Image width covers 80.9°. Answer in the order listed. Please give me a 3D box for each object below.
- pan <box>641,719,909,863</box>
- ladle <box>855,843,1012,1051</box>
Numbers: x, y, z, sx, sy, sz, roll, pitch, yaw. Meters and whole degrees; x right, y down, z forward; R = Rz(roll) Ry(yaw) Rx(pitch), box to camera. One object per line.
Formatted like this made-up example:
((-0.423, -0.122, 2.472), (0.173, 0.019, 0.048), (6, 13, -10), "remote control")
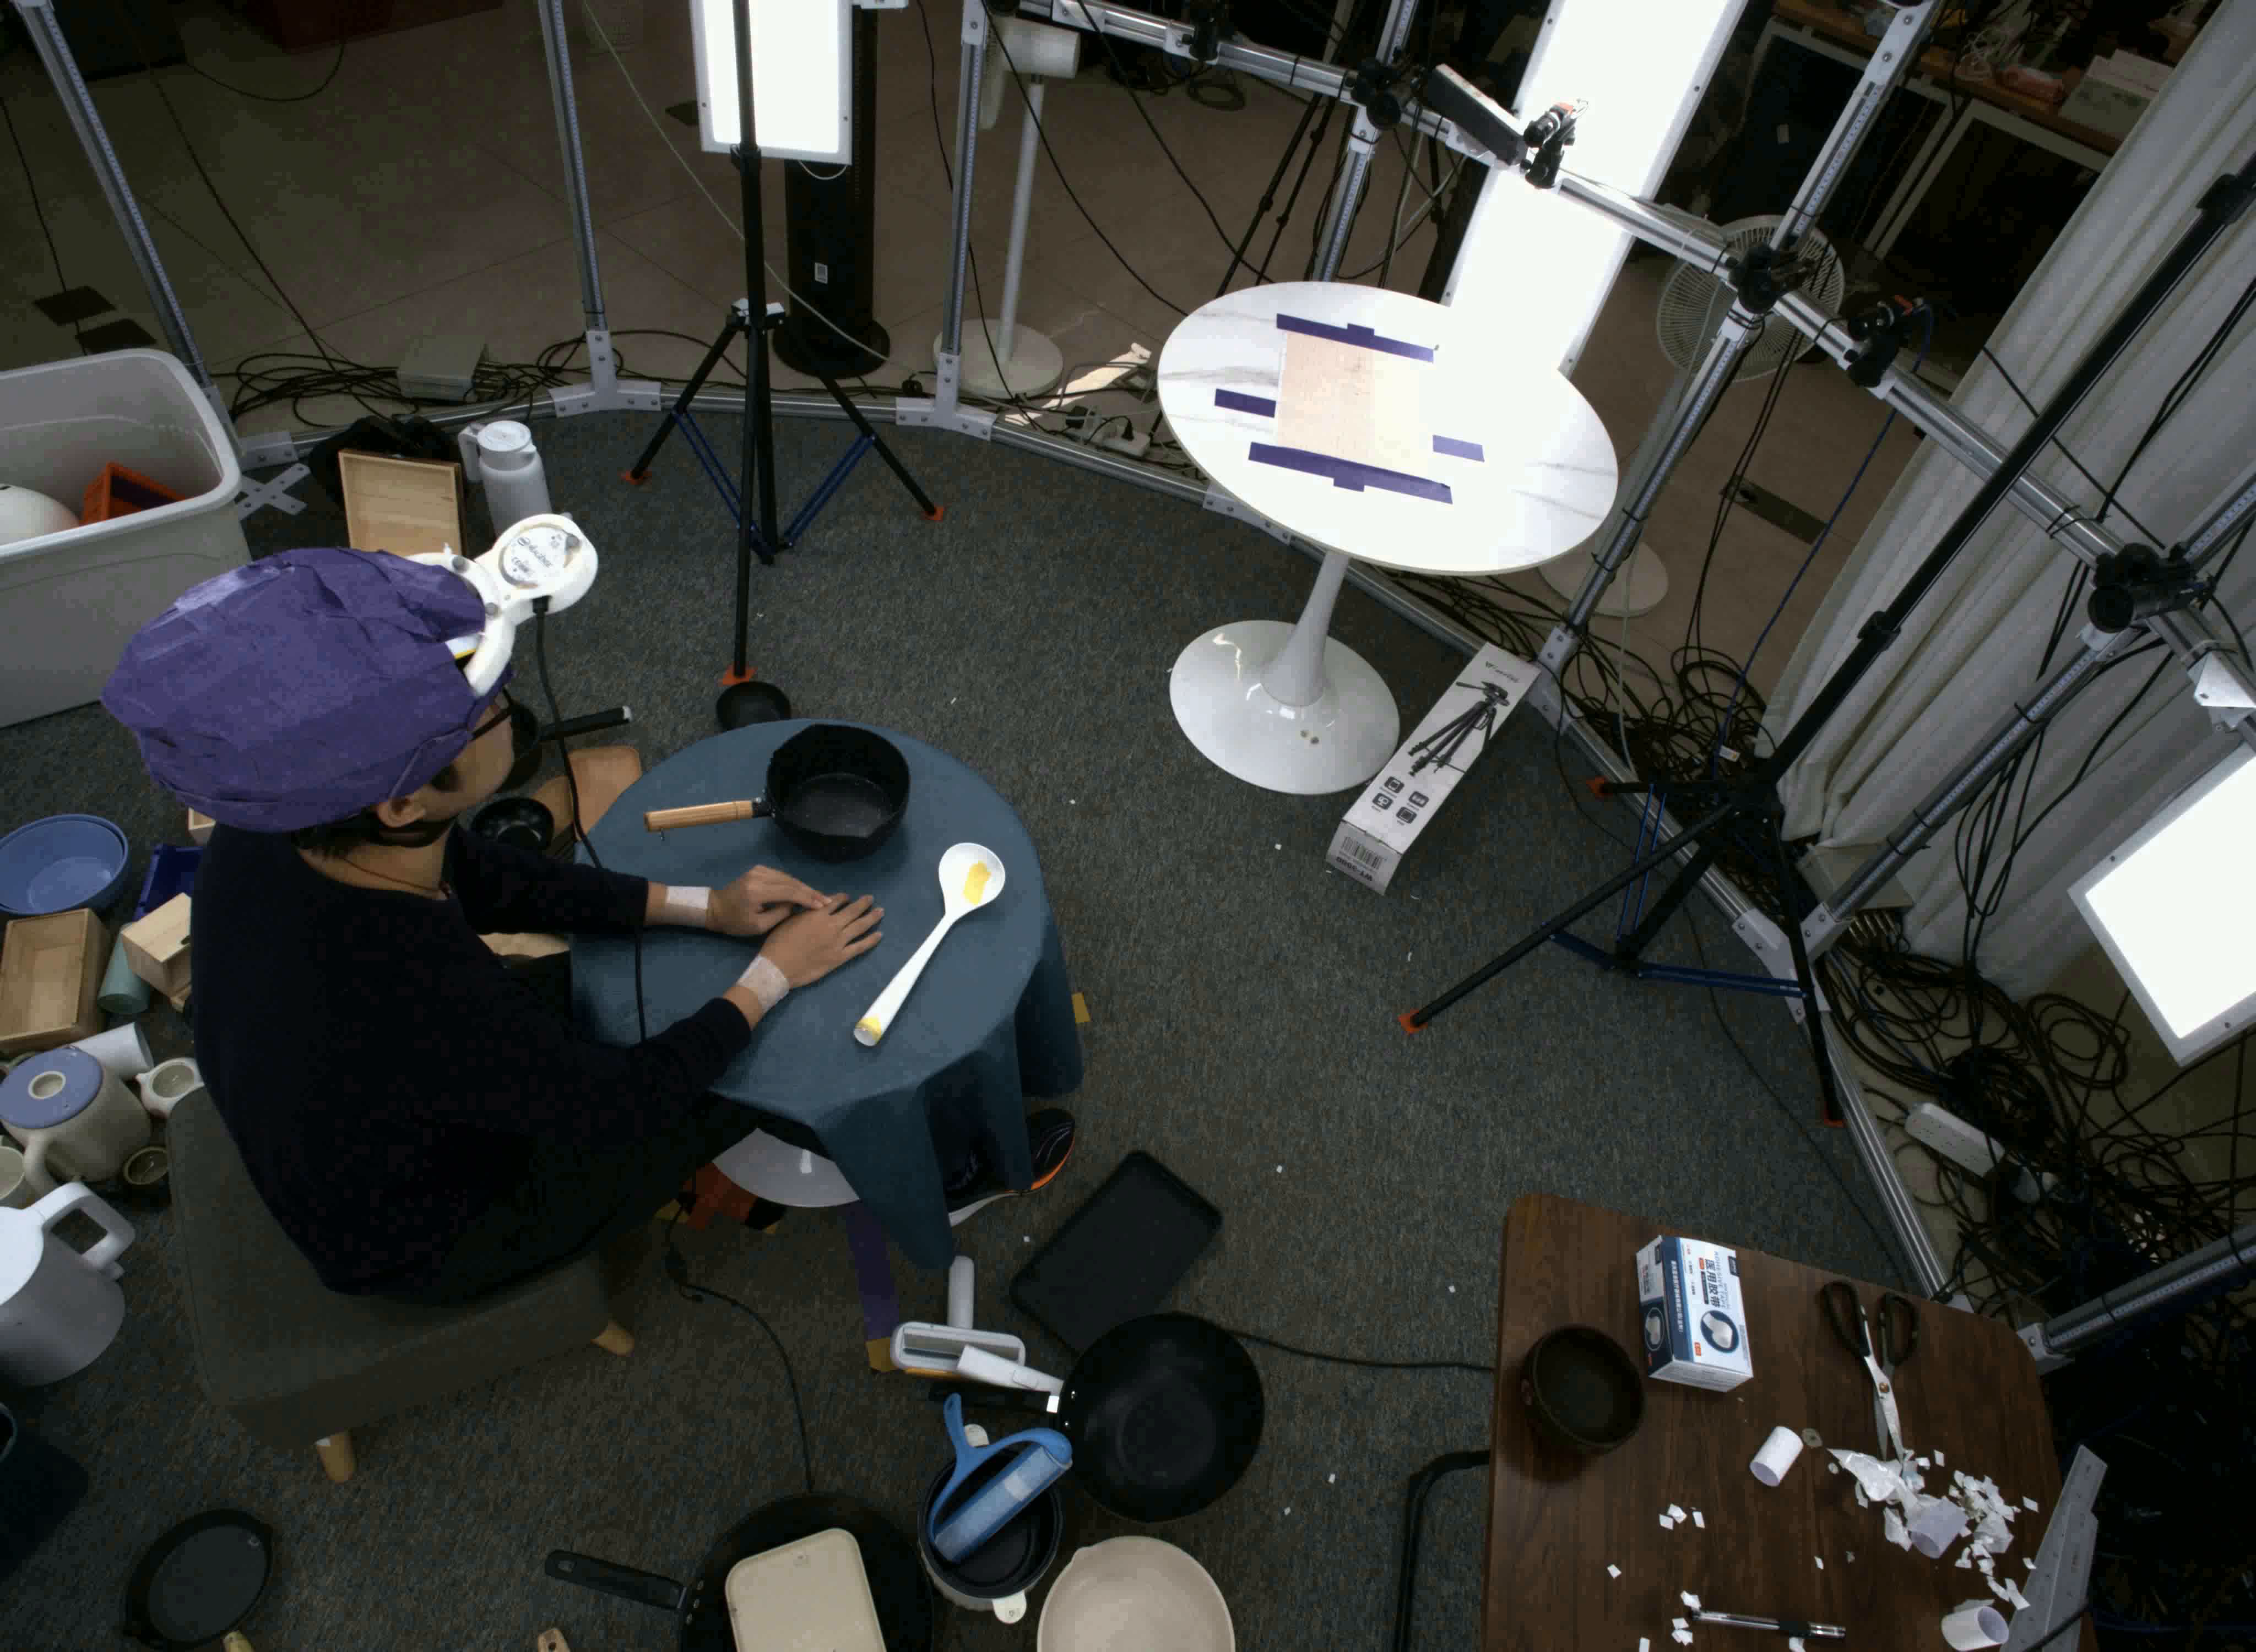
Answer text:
((-0.447, -0.023, 1.655), (0.345, 0.110, 0.202), (-18, 61, -27), "pan")
((-0.244, 0.146, 1.611), (0.089, 0.071, 0.291), (31, 53, 3), "ladle")
